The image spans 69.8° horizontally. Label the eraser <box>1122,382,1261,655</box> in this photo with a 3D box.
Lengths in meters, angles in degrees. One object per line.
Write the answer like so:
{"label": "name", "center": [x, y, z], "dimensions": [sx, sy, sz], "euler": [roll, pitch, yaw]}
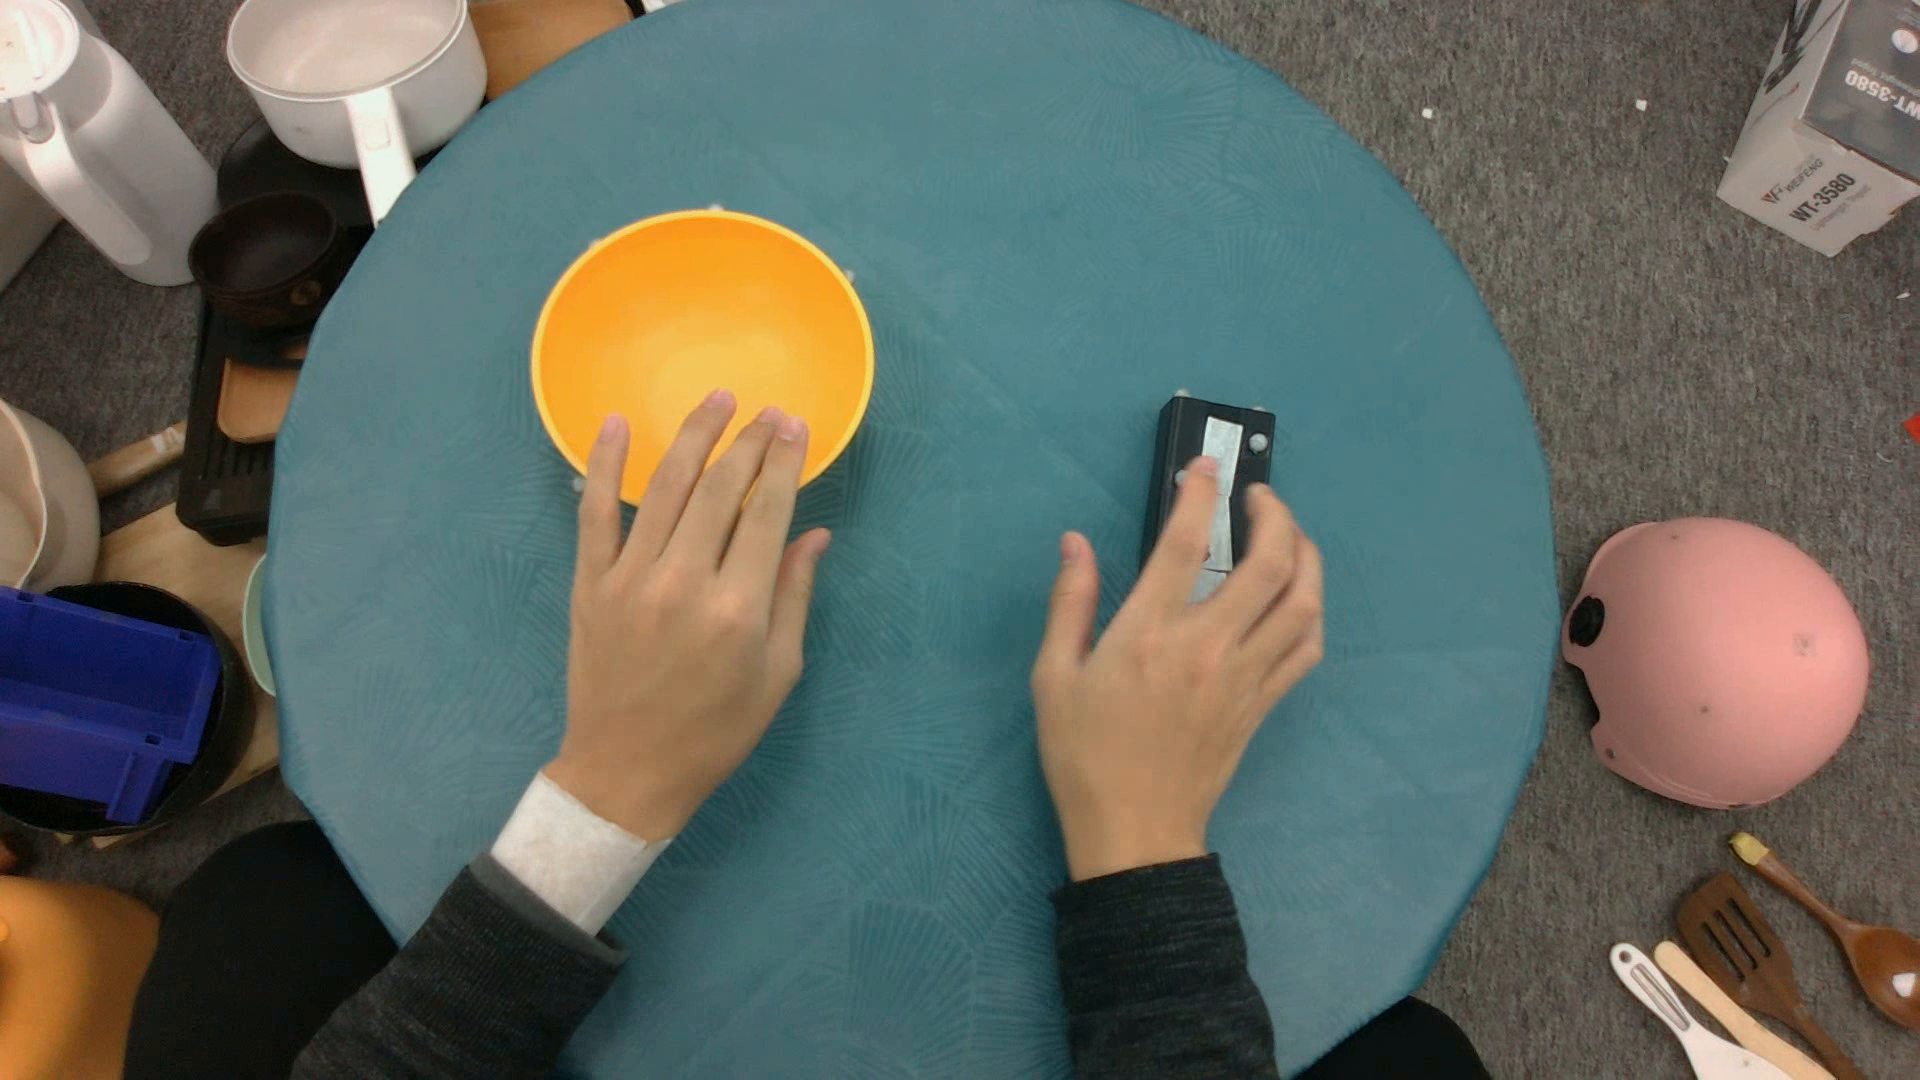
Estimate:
{"label": "eraser", "center": [0.107, -0.011, 0.640], "dimensions": [0.053, 0.030, 0.126], "euler": [8, 72, 0]}

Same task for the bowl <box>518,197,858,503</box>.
{"label": "bowl", "center": [-0.118, -0.076, 0.618], "dimensions": [0.145, 0.060, 0.145], "euler": [2, 72, -5]}
